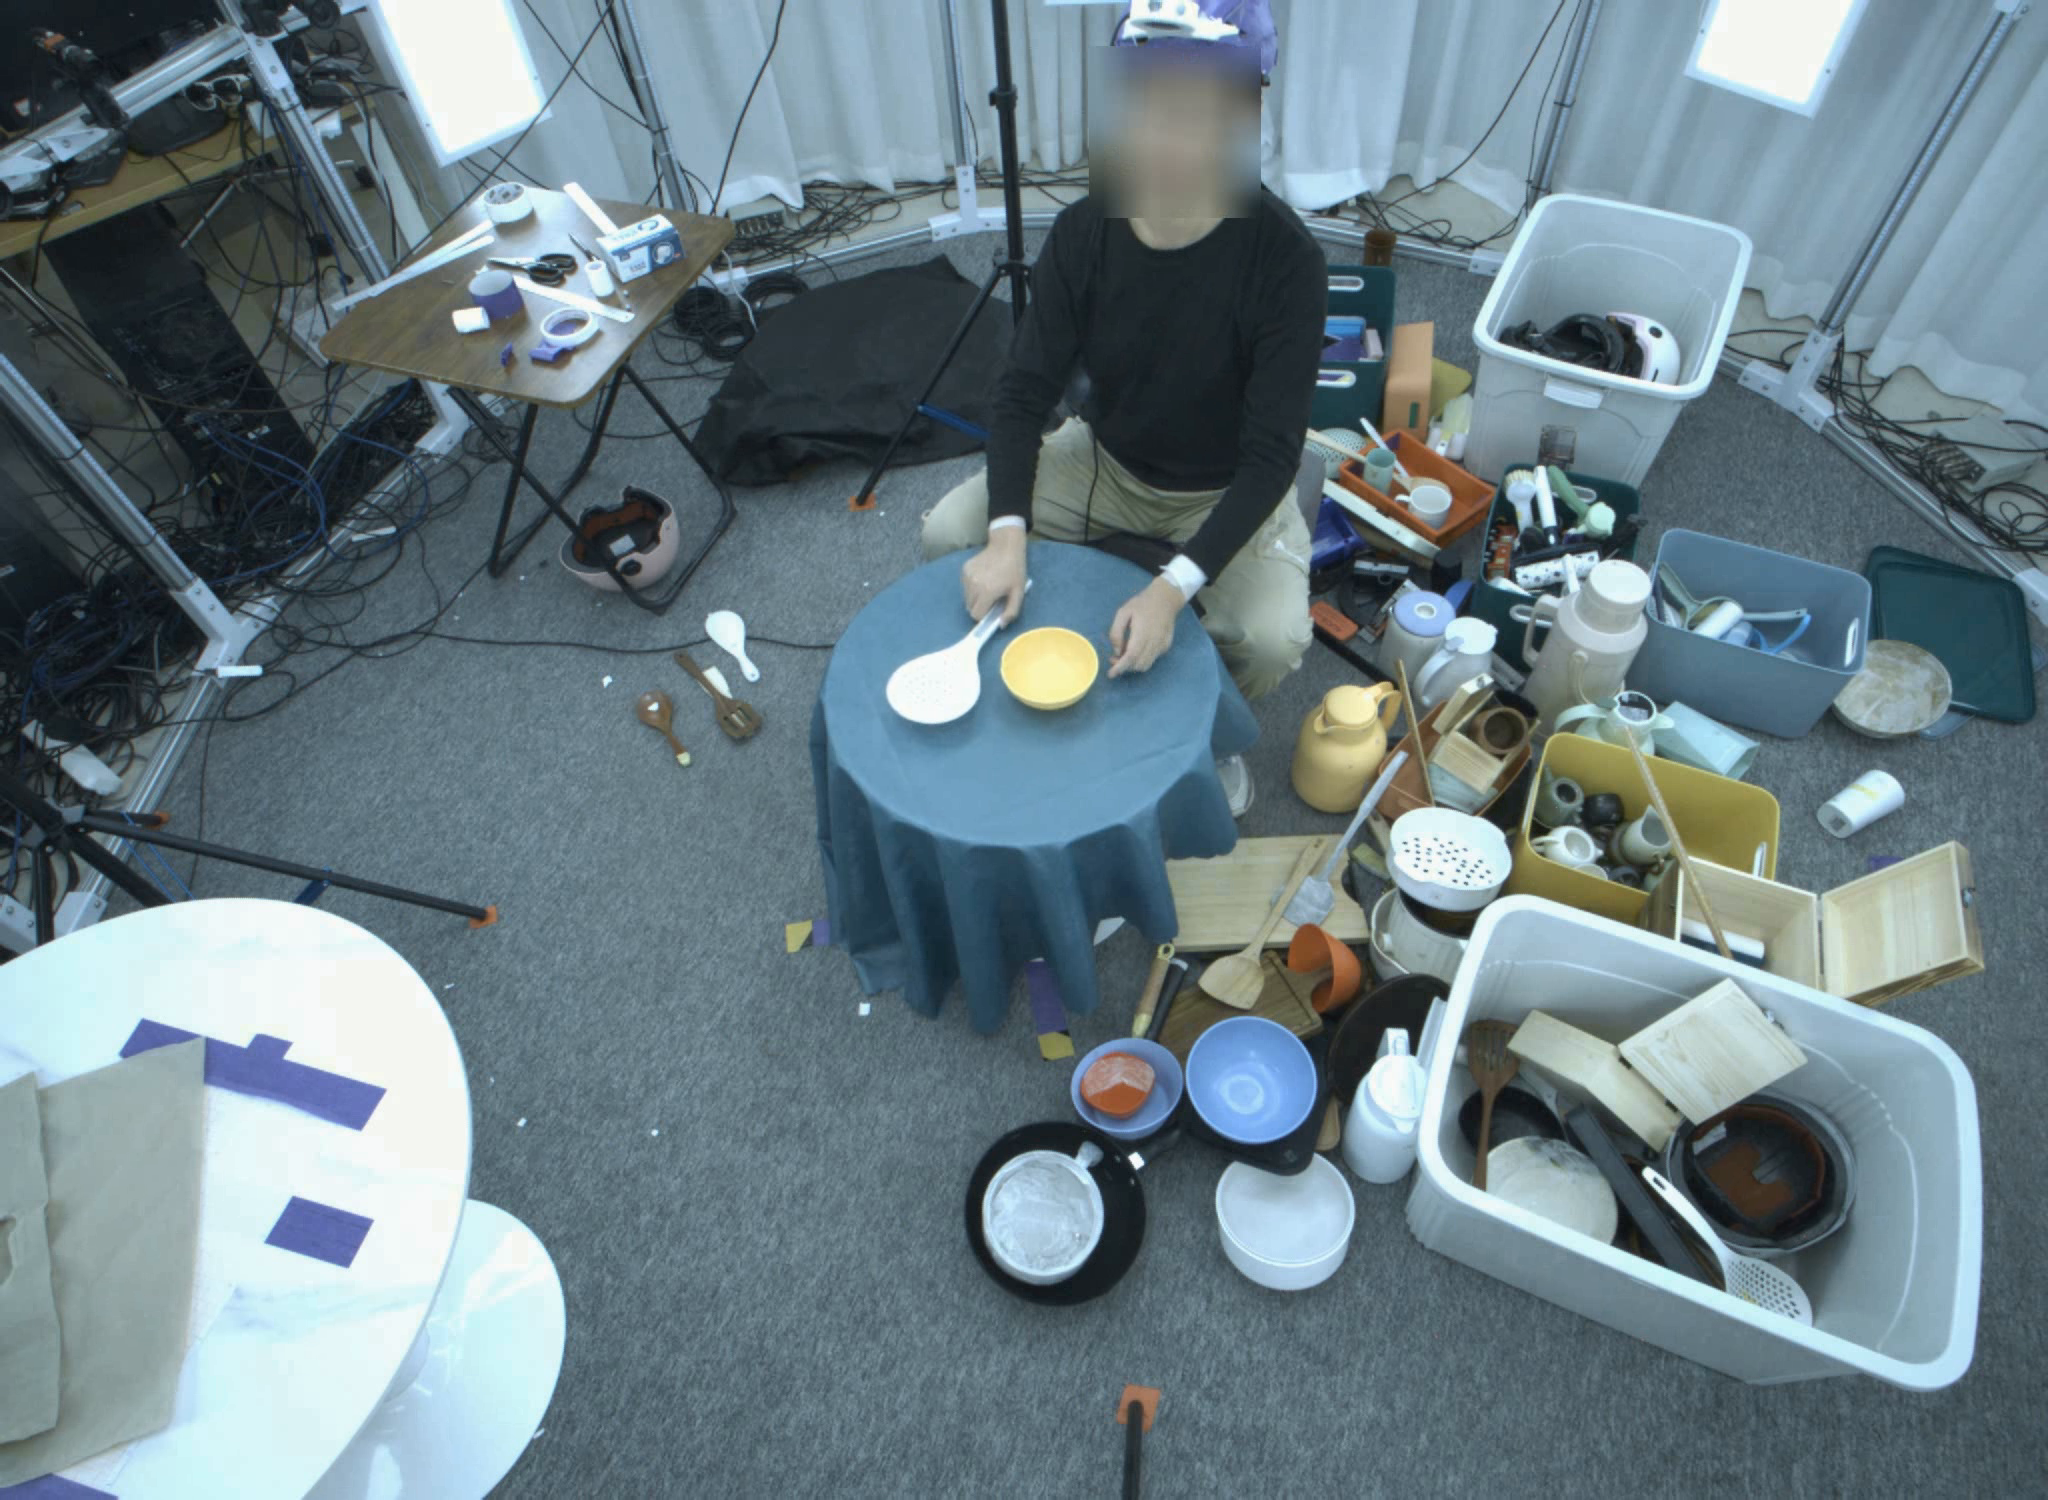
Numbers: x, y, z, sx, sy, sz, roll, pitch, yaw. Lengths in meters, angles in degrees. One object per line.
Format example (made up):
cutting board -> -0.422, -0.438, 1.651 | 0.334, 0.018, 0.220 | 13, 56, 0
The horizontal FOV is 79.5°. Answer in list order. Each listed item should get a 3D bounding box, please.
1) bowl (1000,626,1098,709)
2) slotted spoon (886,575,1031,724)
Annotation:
bowl -> 0.037, -0.111, 1.830 | 0.145, 0.061, 0.144 | 0, 56, 1
slotted spoon -> -0.084, -0.159, 1.875 | 0.134, 0.046, 0.350 | 22, 58, 17
